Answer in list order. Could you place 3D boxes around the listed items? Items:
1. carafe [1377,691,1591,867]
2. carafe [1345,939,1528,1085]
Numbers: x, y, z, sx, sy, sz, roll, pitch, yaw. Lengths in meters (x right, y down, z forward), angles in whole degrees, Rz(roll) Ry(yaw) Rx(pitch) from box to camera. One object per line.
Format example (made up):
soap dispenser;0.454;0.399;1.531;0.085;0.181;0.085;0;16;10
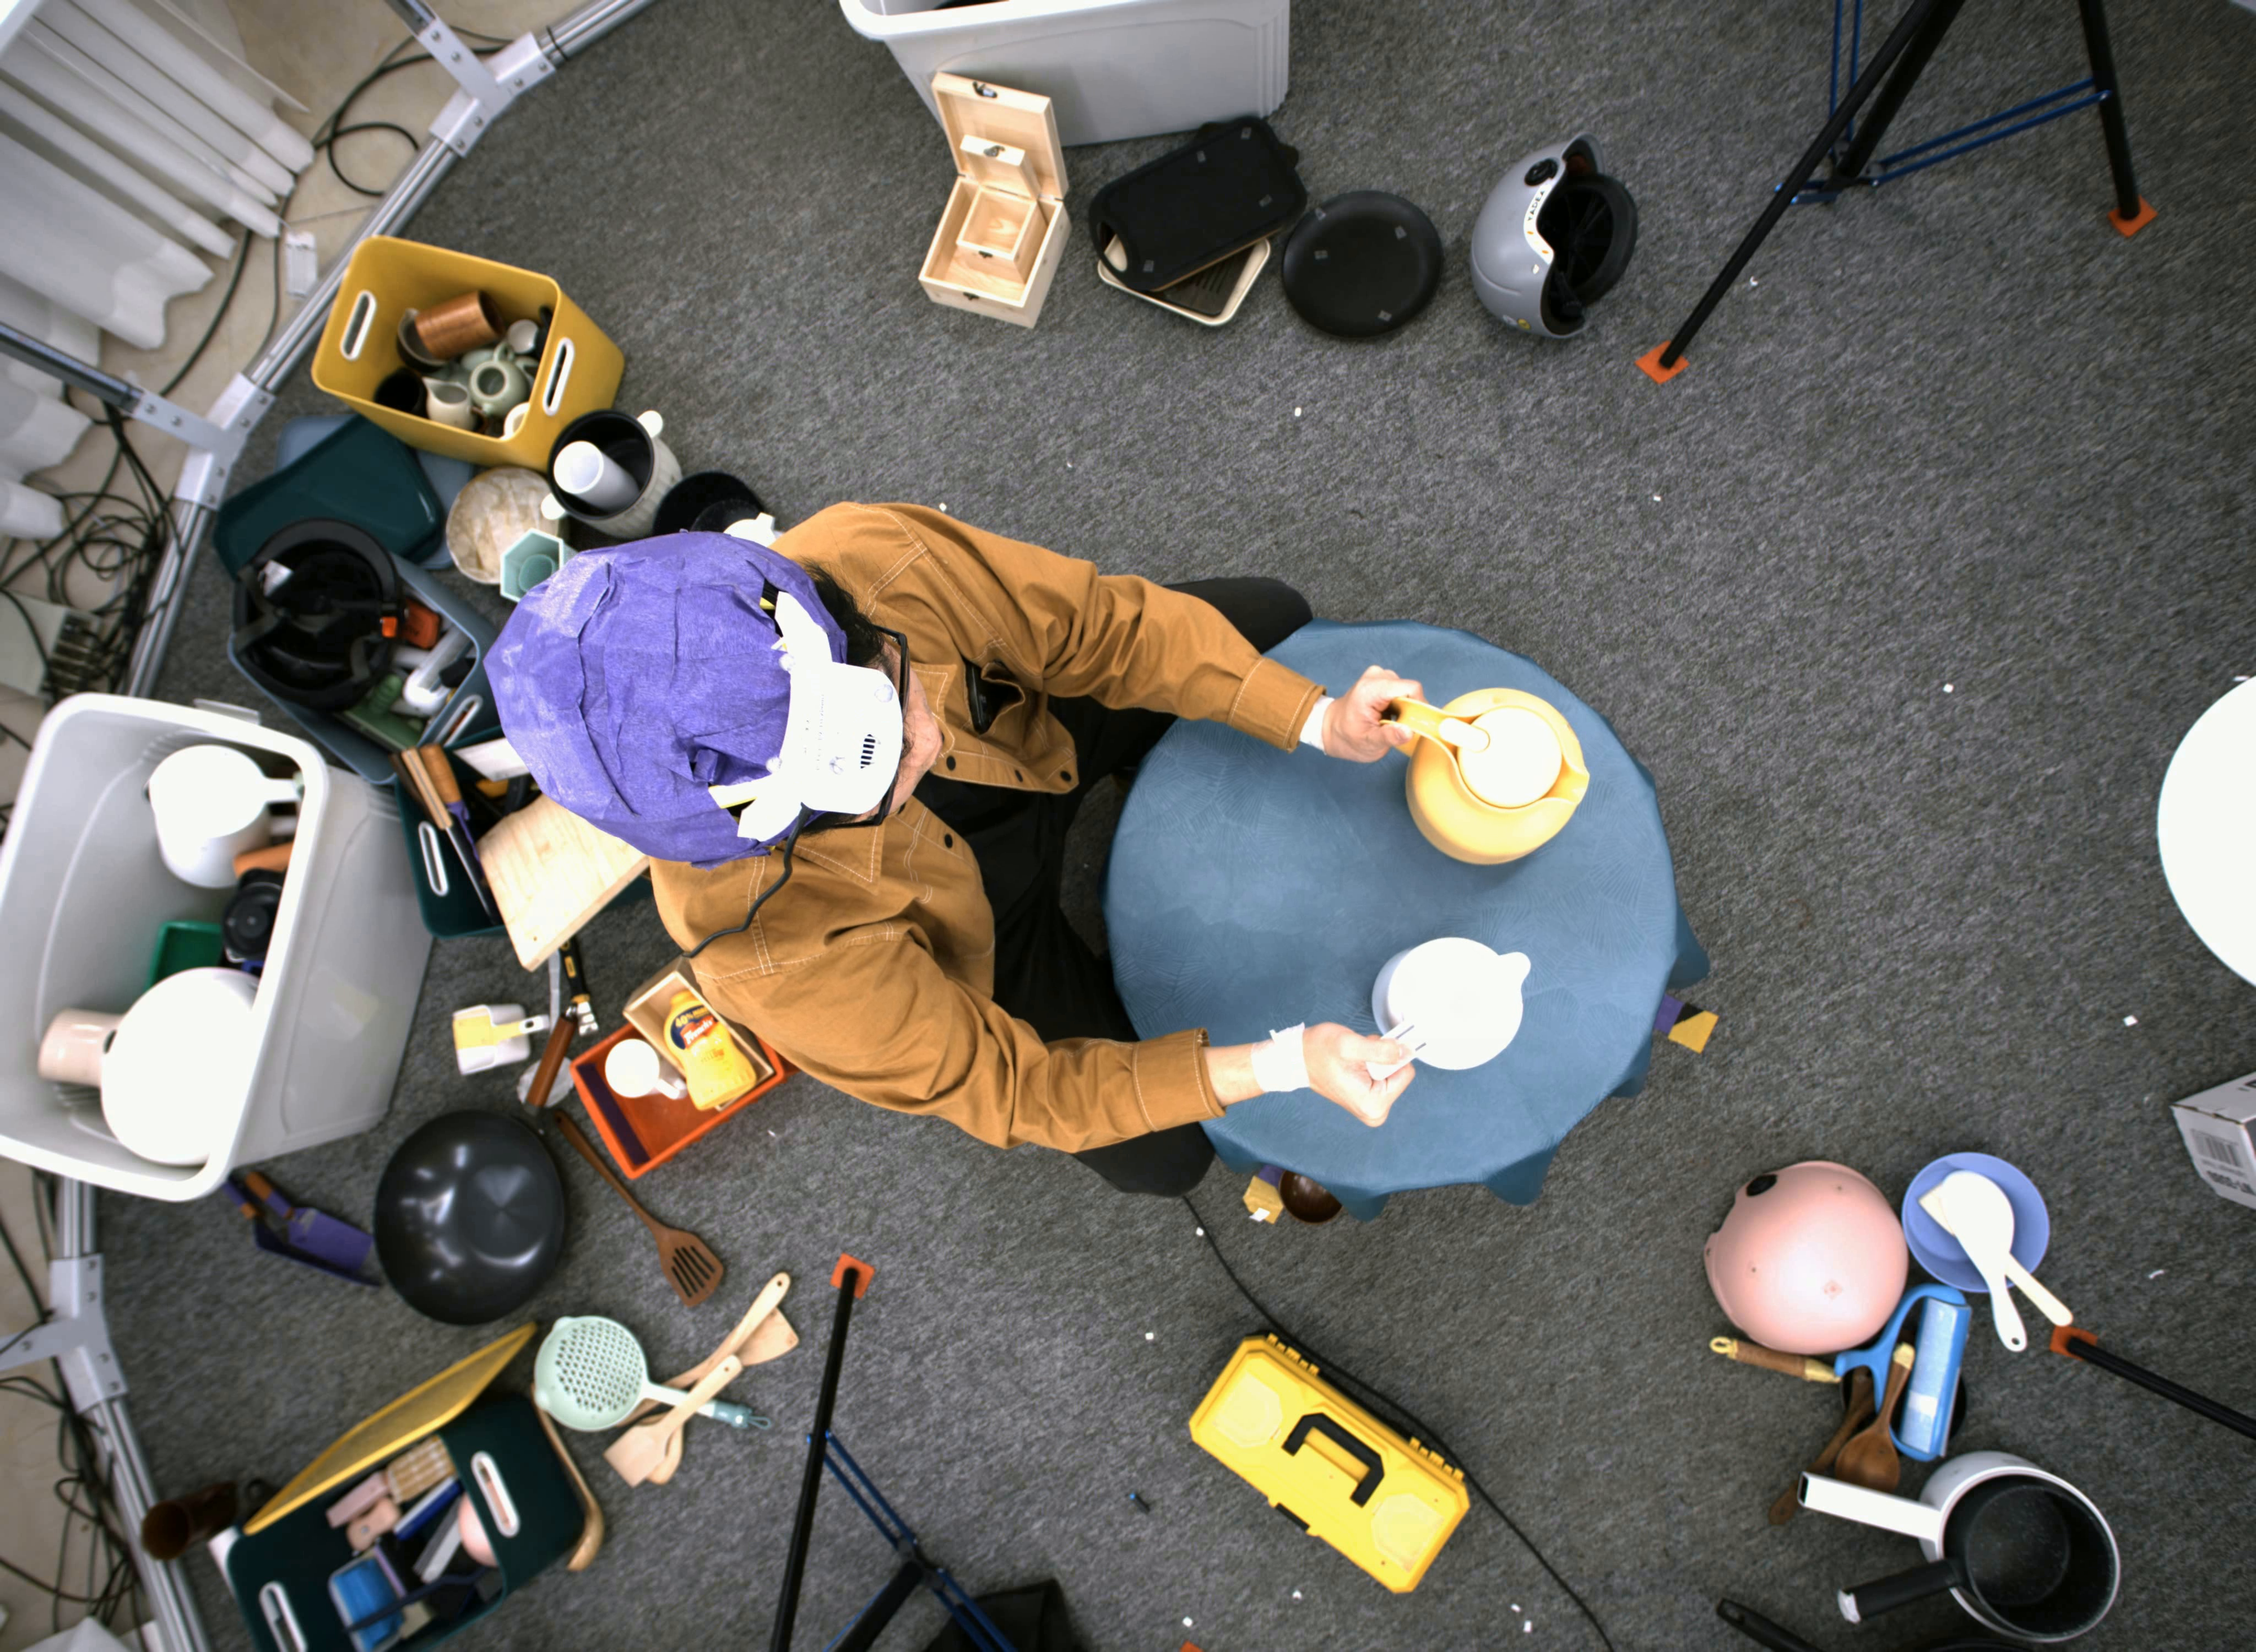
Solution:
carafe;0.334;-0.060;1.314;0.202;0.261;0.163;29;88;8
carafe;0.282;0.177;1.295;0.173;0.269;0.123;-36;84;2
